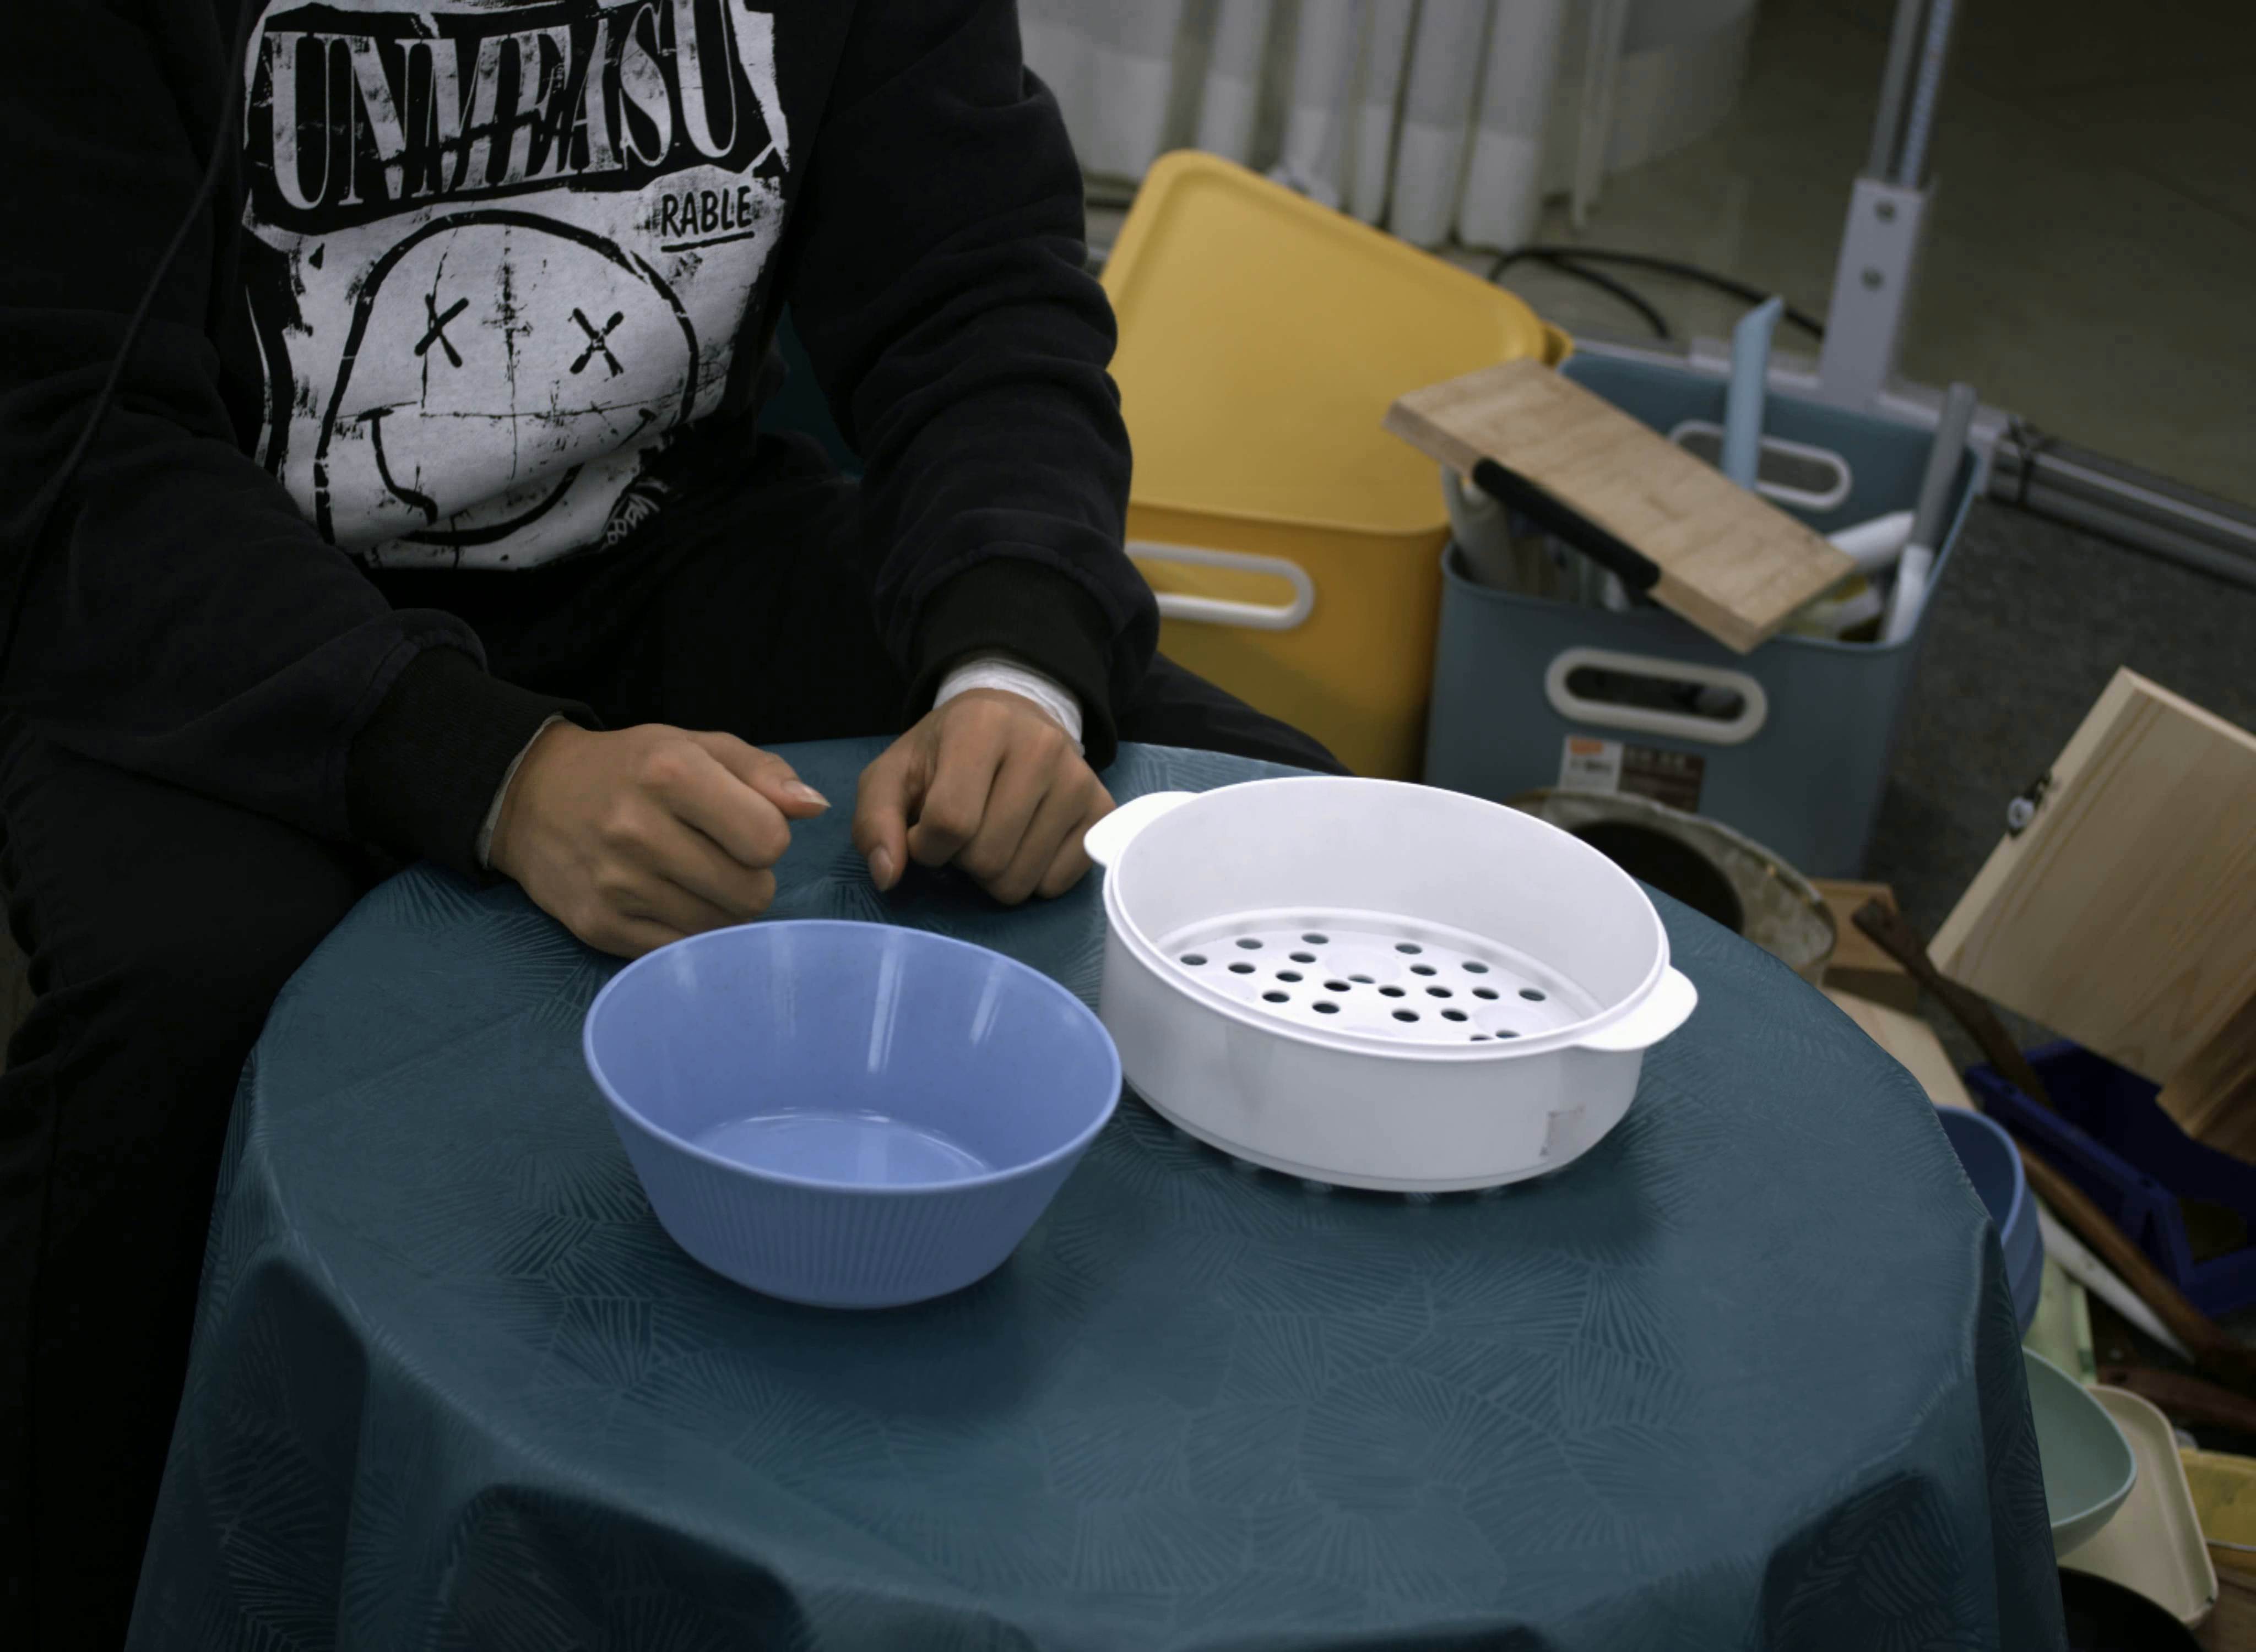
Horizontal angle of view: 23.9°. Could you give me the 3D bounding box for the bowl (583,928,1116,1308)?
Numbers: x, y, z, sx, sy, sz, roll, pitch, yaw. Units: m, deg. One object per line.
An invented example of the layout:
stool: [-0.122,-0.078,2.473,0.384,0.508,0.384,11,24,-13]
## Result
bowl: [-0.094,0.101,1.745,0.175,0.070,0.177,6,26,-3]

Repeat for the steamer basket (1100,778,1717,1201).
steamer basket: [0.093,0.058,1.876,0.231,0.069,0.201,22,30,24]
